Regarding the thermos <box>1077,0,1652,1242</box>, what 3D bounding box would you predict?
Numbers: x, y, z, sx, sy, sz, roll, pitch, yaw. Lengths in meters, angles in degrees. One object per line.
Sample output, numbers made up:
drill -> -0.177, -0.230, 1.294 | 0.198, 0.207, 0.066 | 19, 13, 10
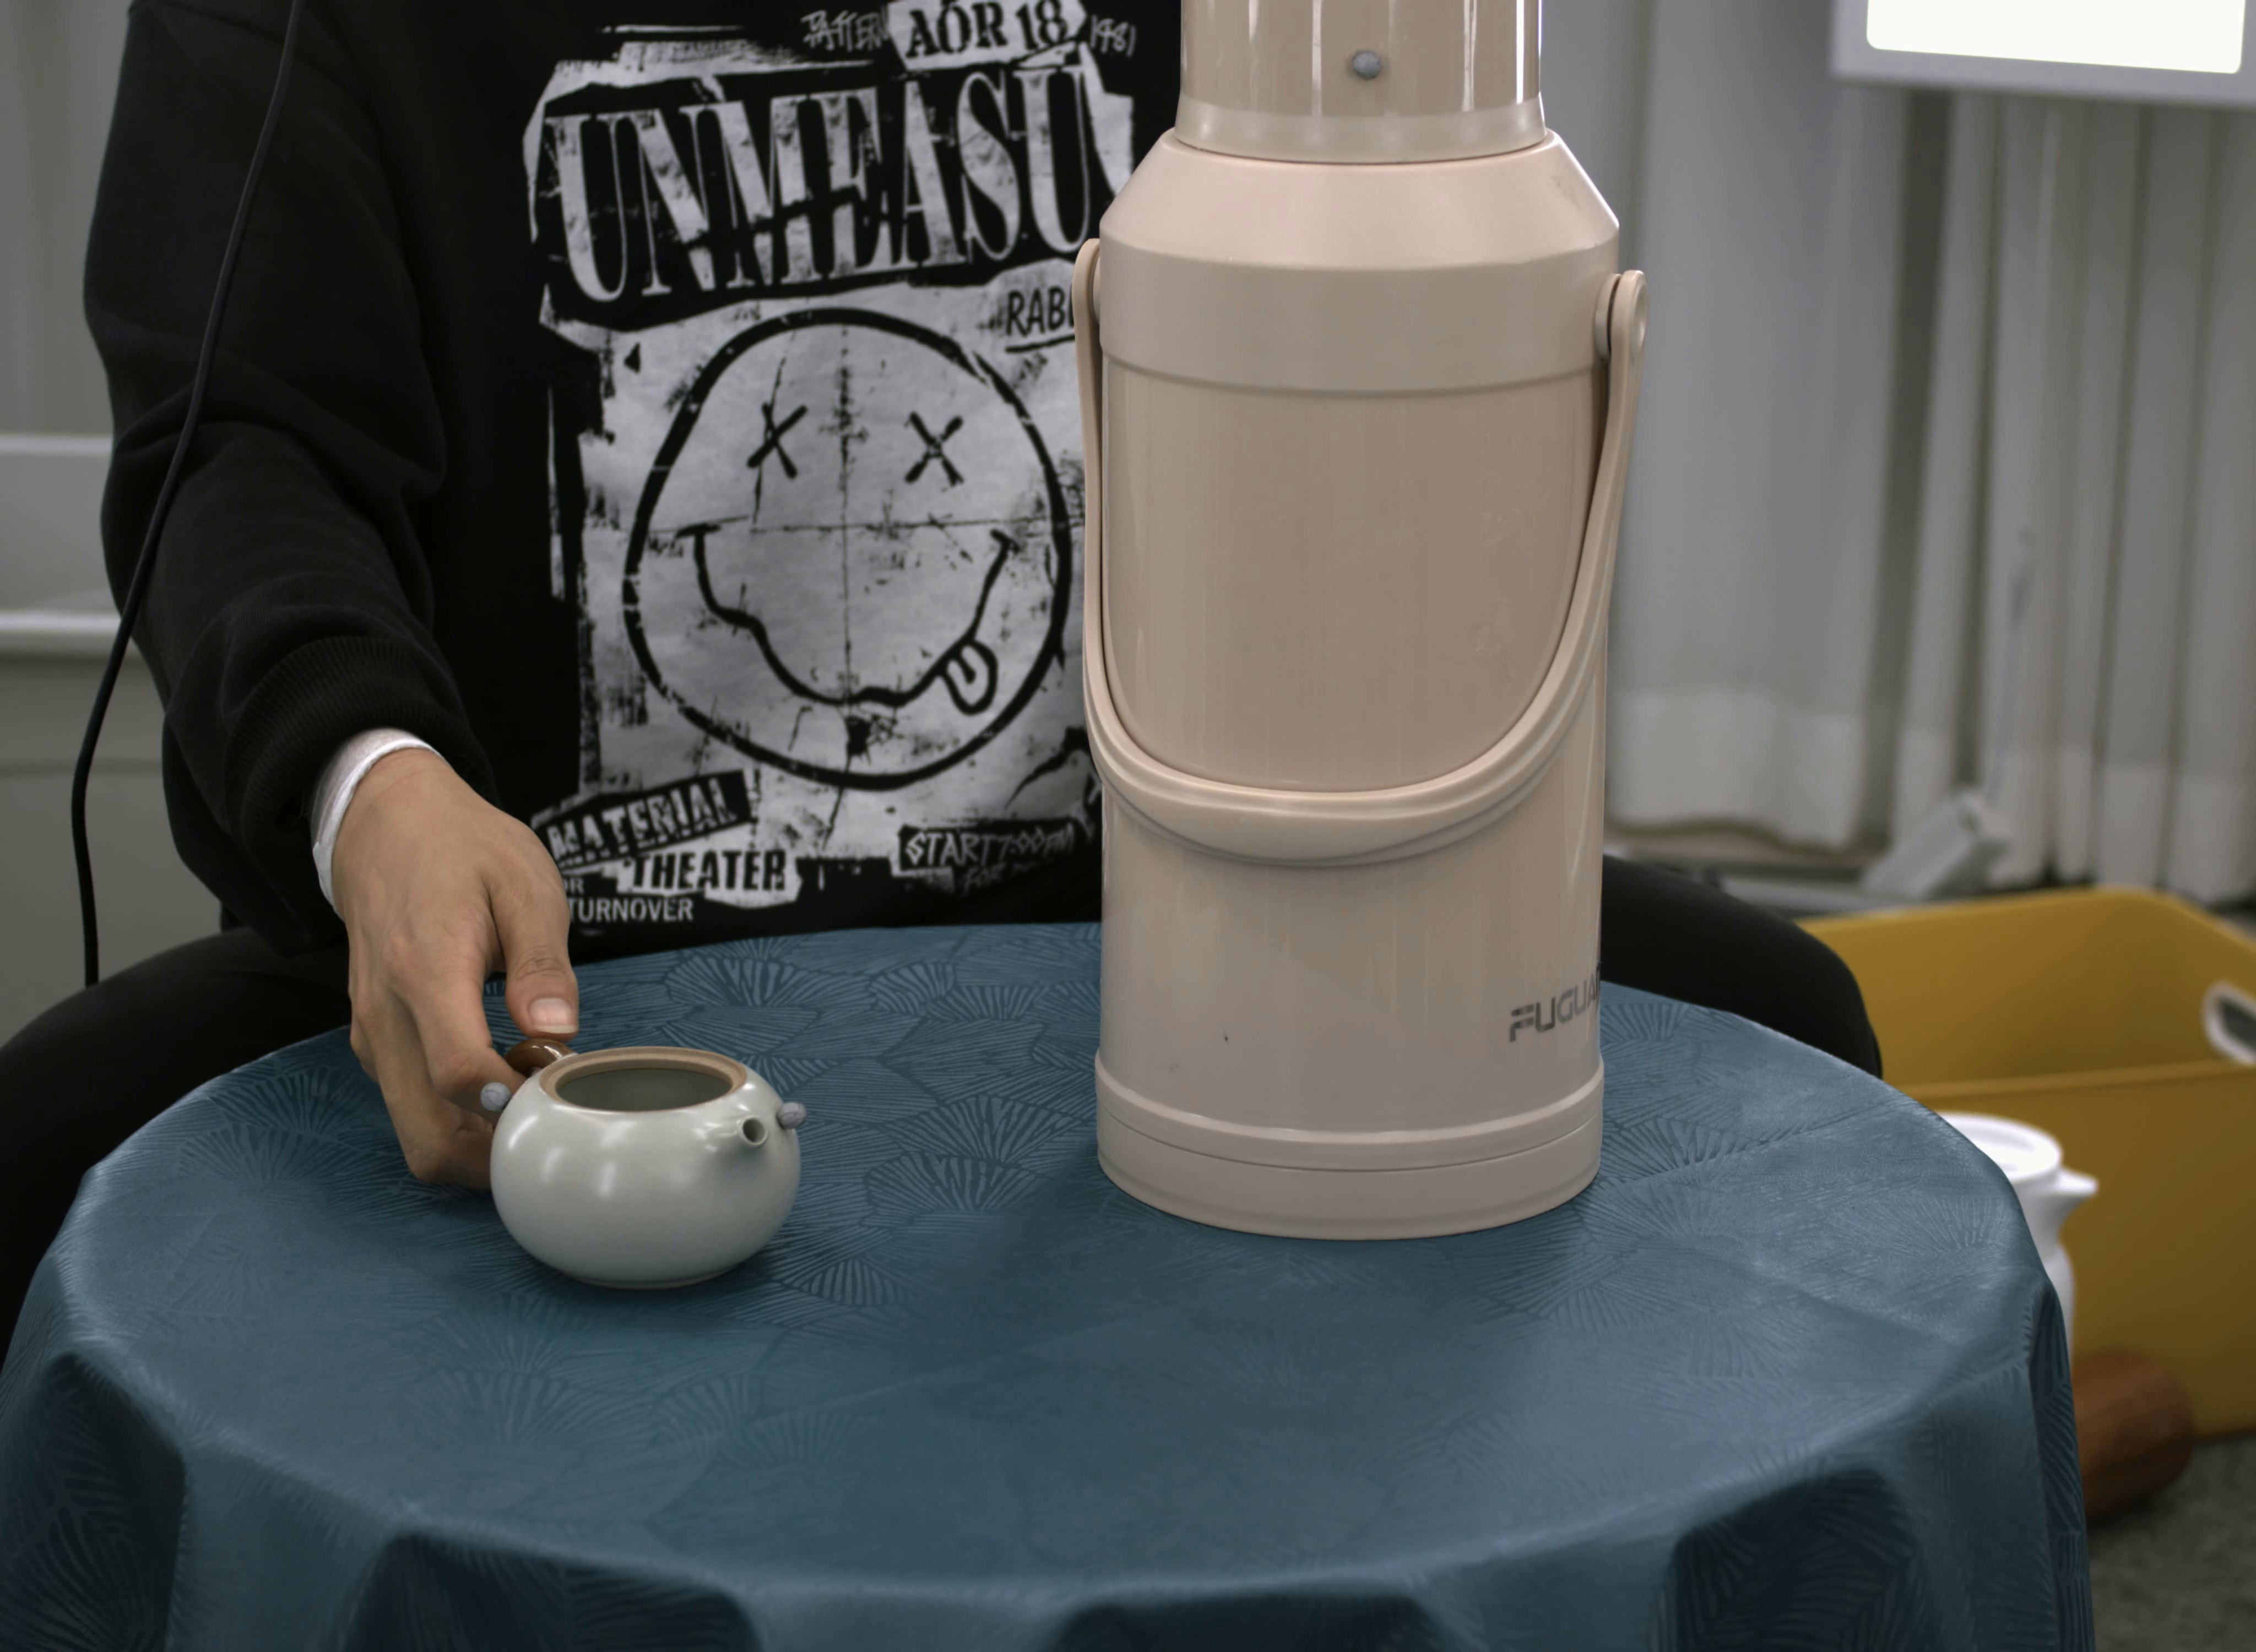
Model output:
thermos -> 0.076, -0.091, 1.613 | 0.174, 0.410, 0.207 | 4, 17, 18

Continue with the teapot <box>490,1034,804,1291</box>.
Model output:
teapot -> -0.148, 0.098, 1.560 | 0.126, 0.060, 0.092 | 17, 26, 42
